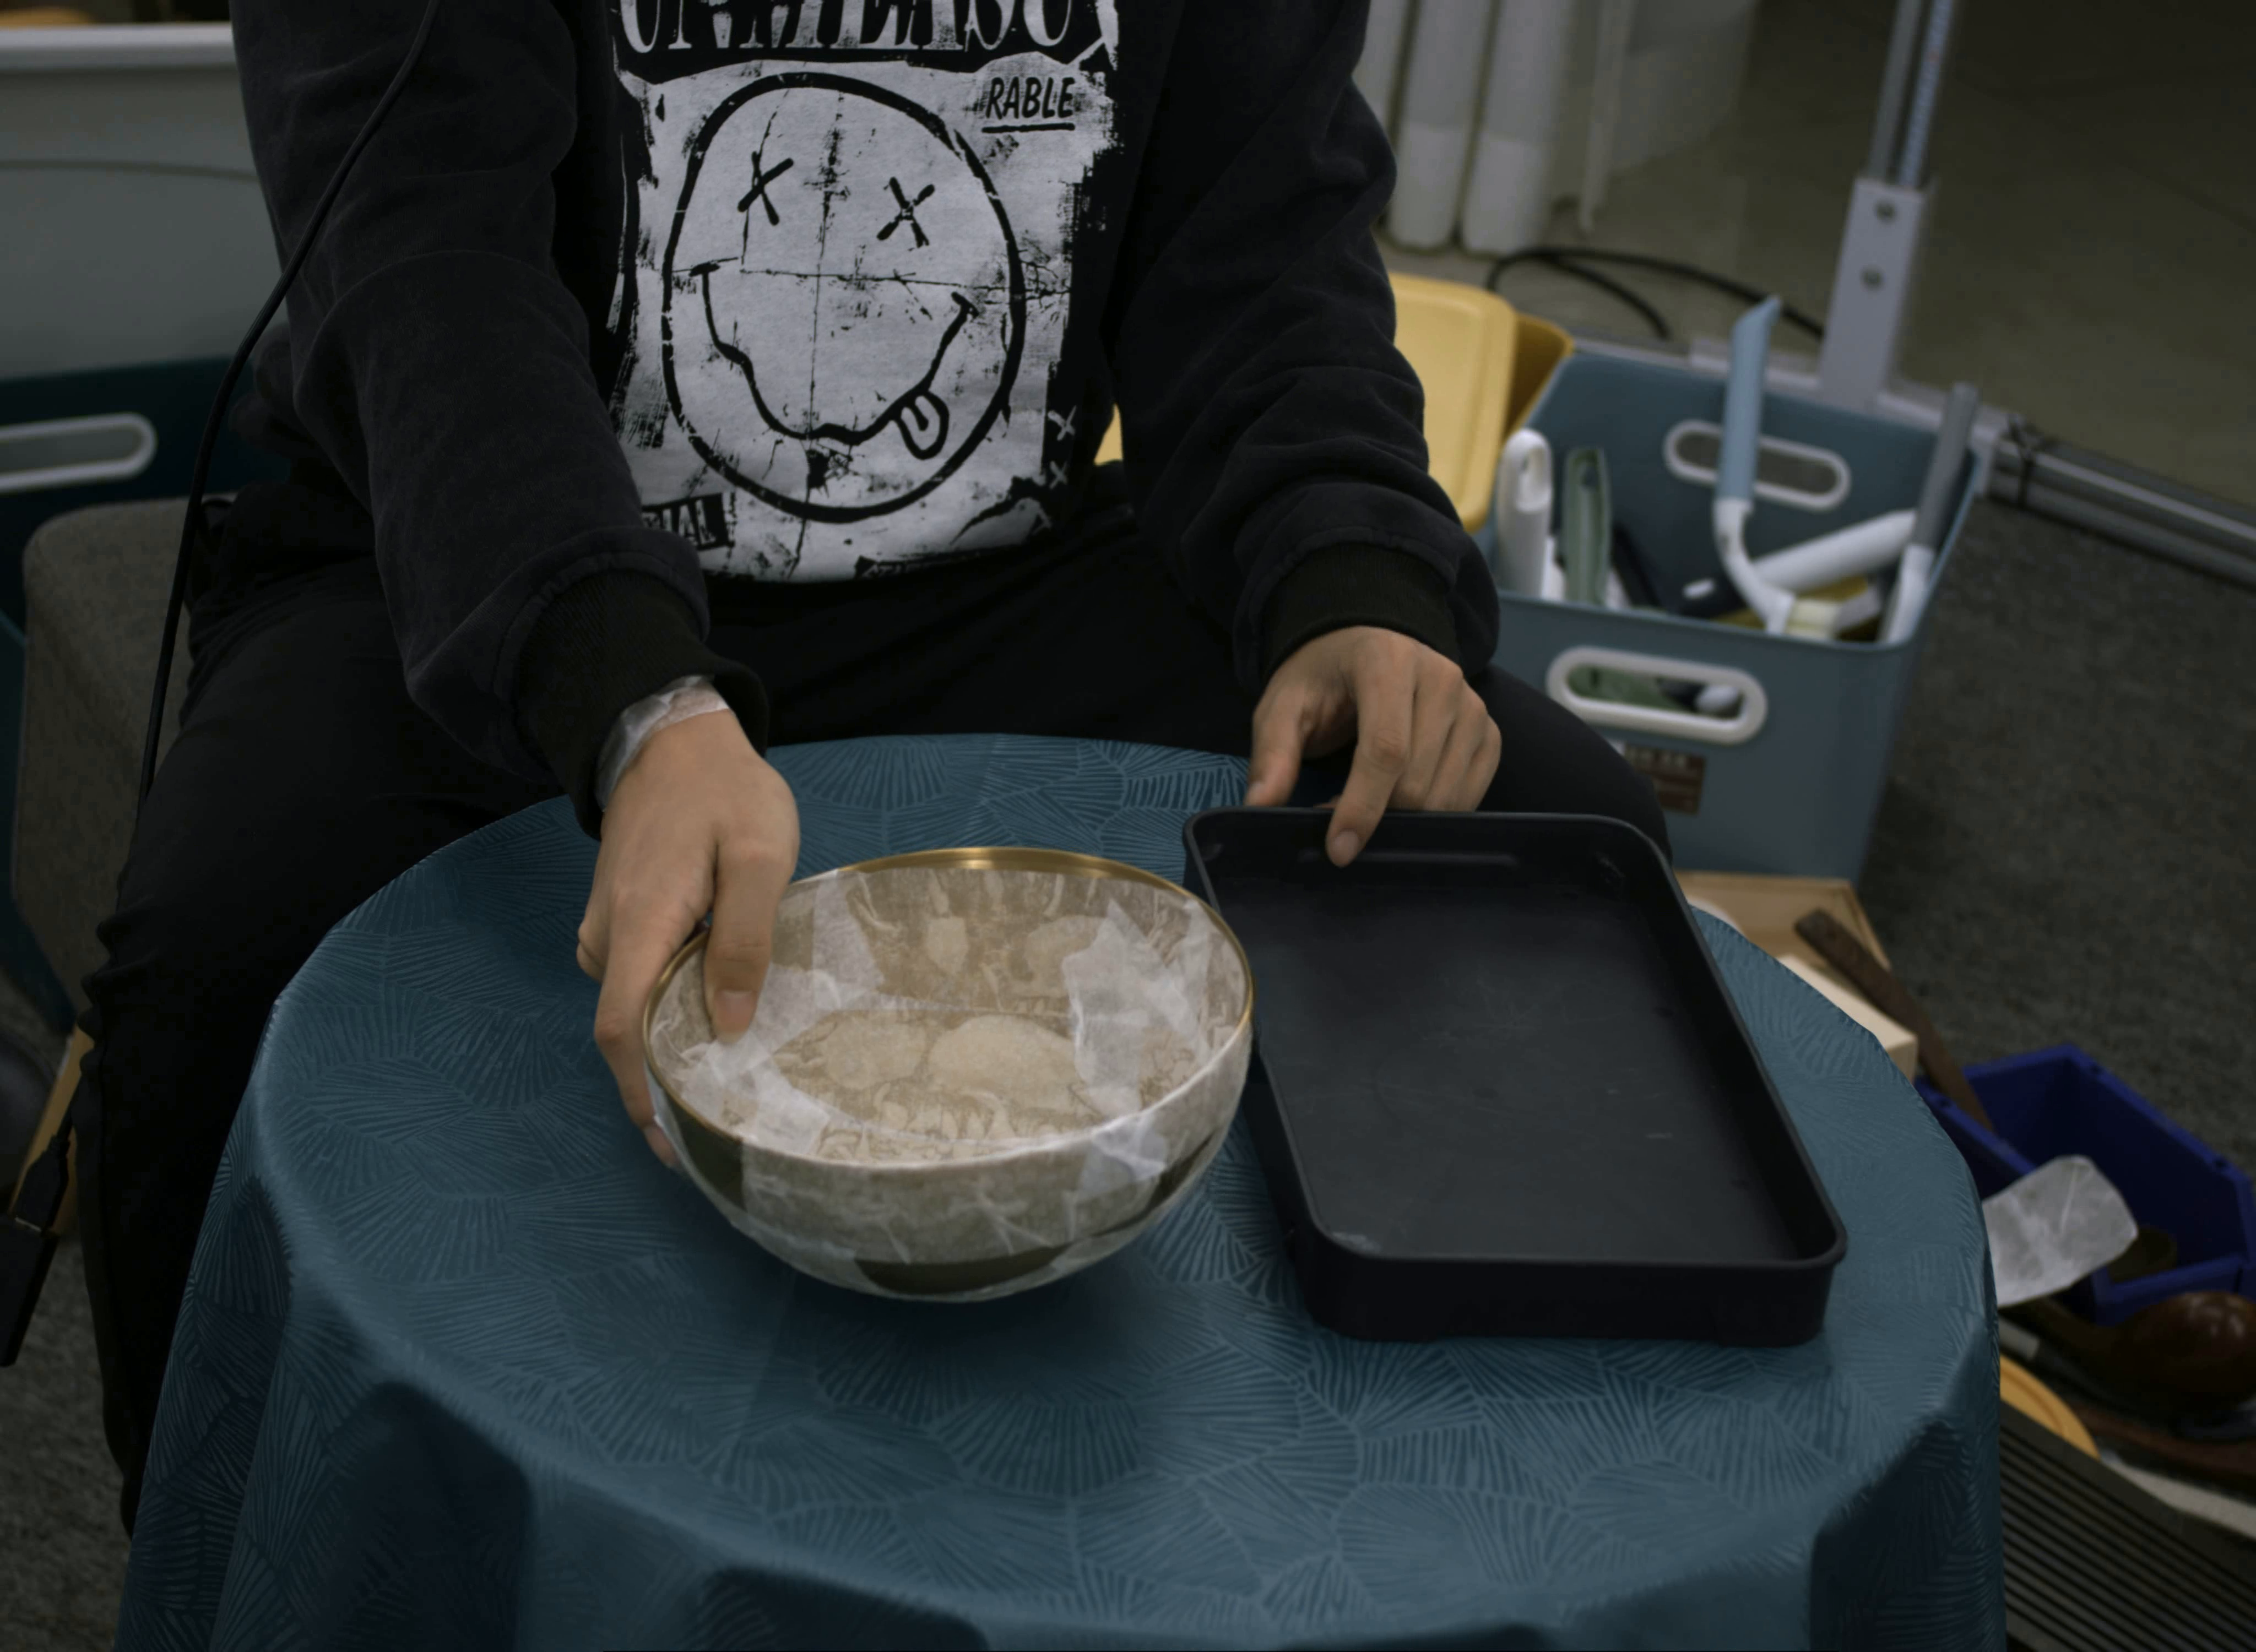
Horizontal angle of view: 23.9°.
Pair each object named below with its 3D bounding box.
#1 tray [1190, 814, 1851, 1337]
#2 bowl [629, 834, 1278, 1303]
[{"bbox_3d":[0.129,0.082,1.868,0.183,0.037,0.320,1,26,-8],"label":"tray"},{"bbox_3d":[-0.054,0.091,1.740,0.214,0.094,0.216,-5,29,2],"label":"bowl"}]
